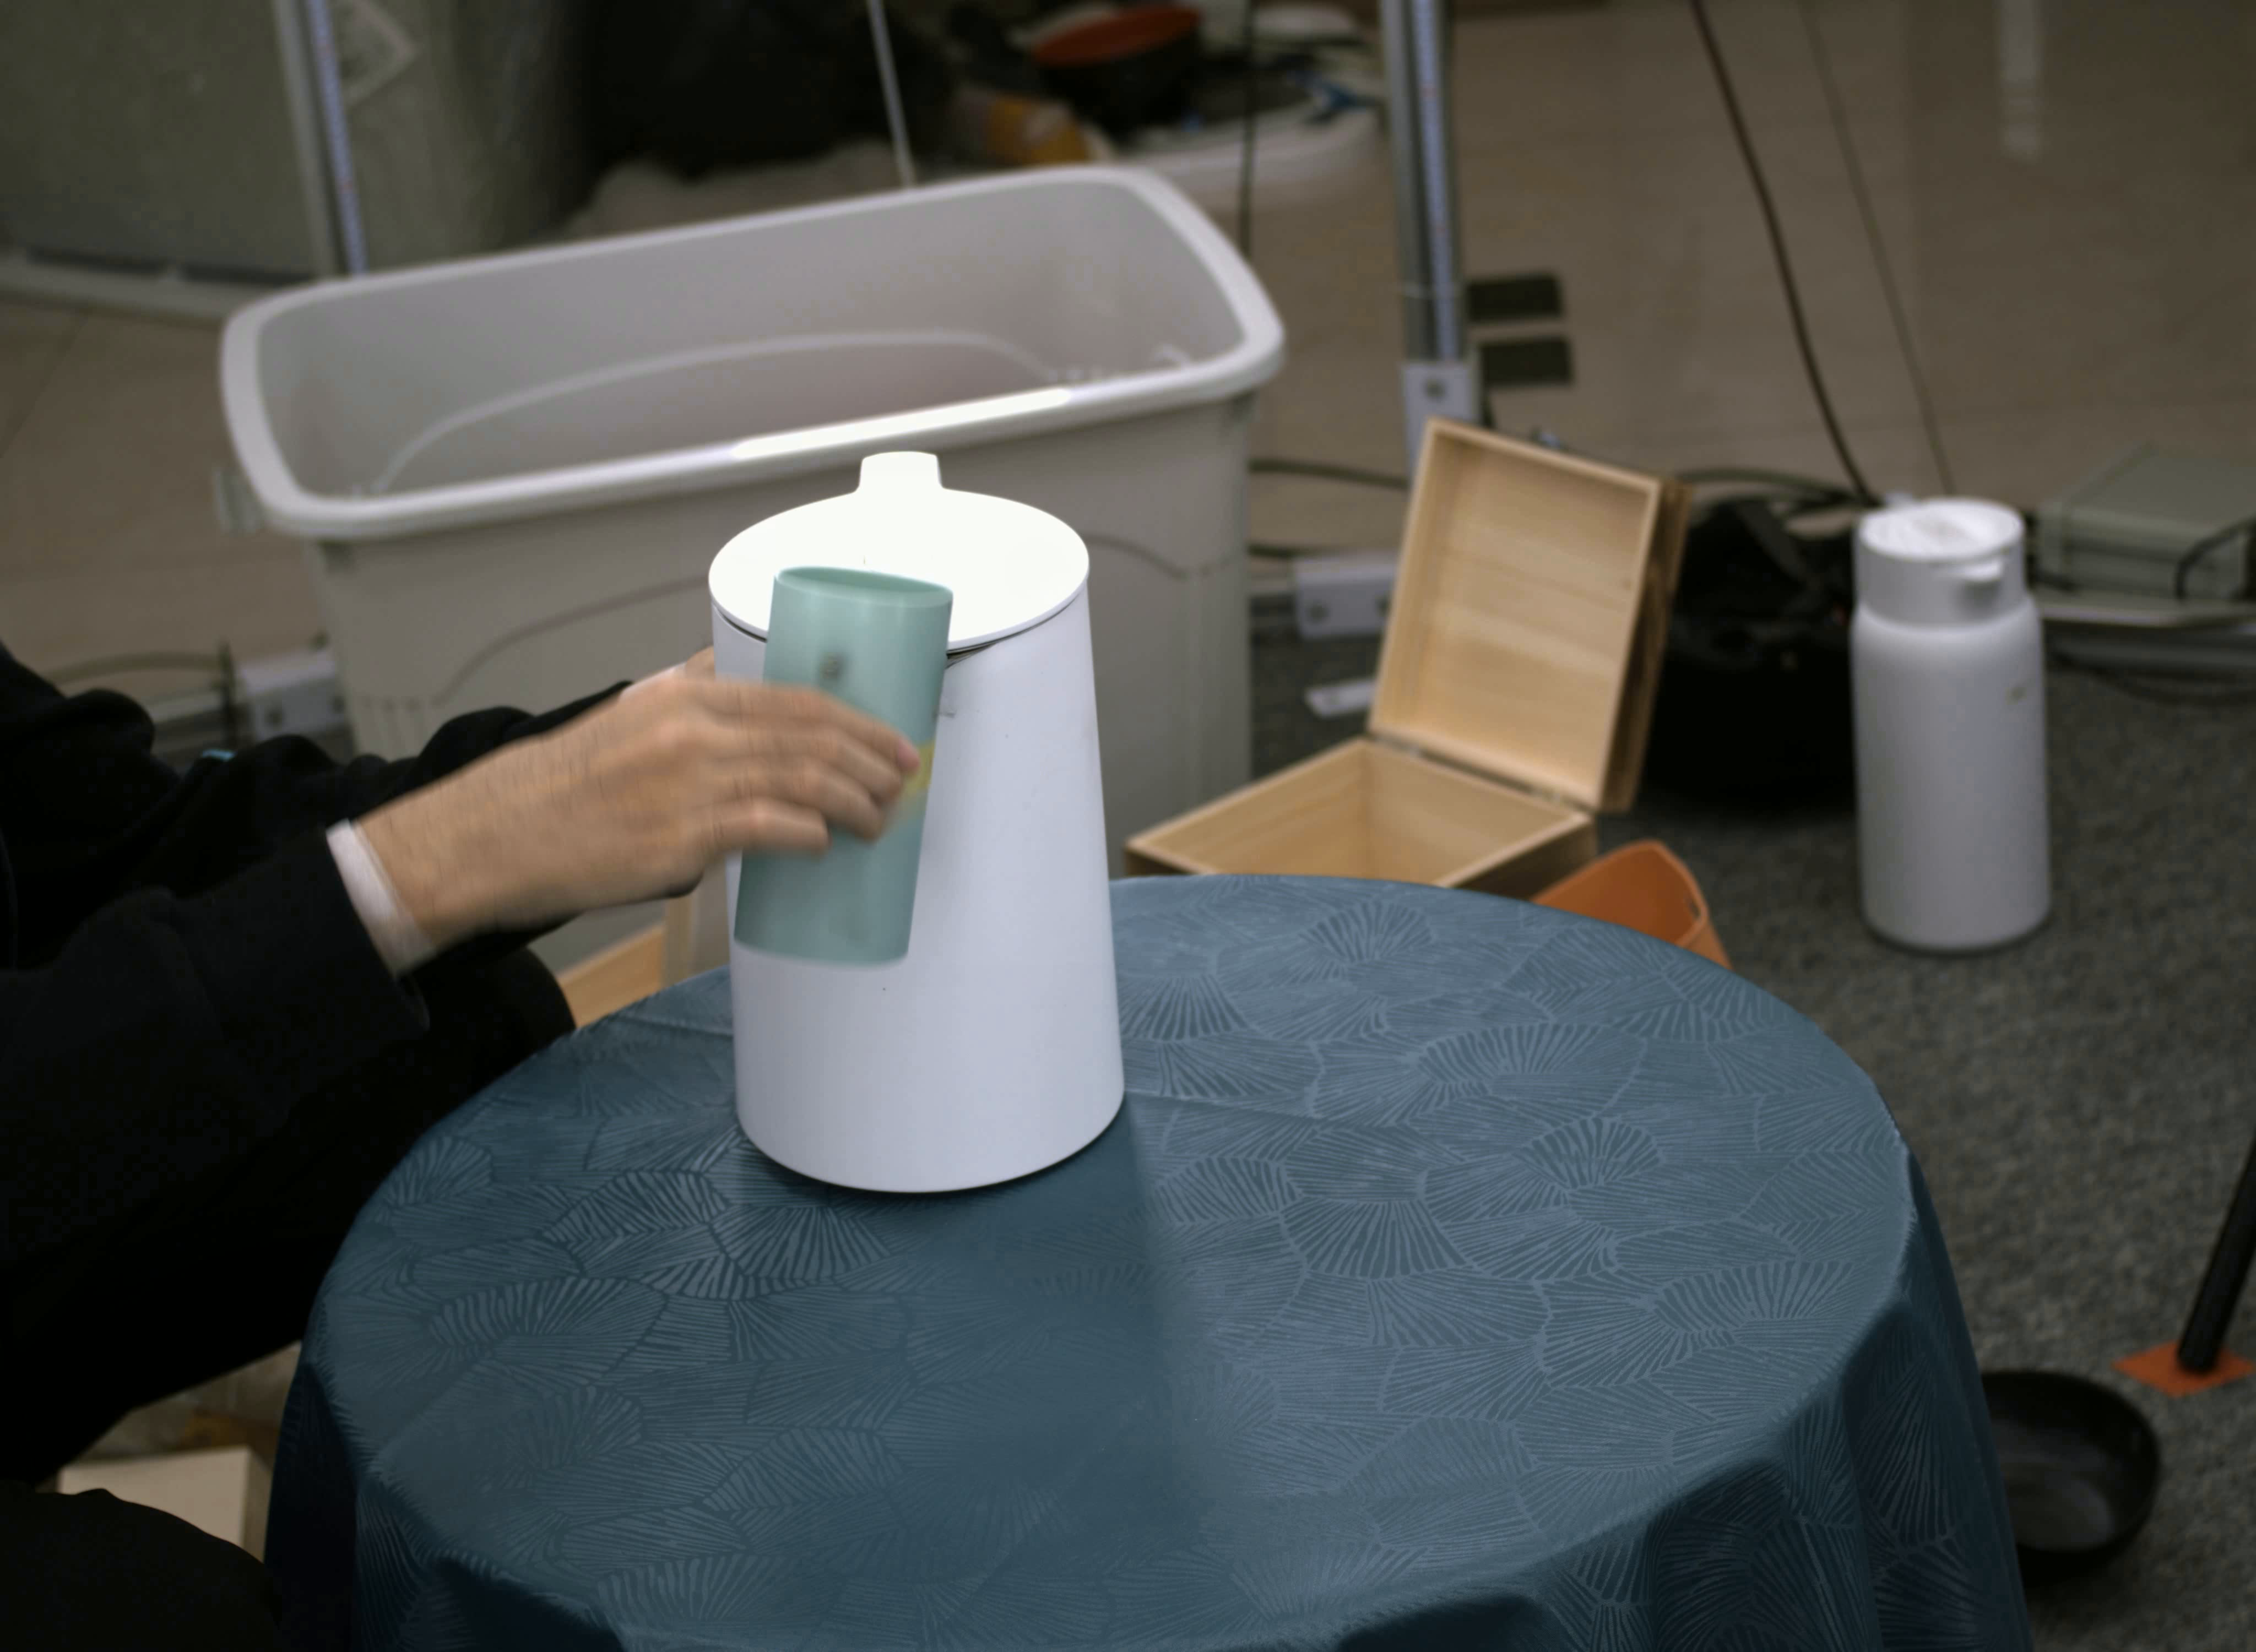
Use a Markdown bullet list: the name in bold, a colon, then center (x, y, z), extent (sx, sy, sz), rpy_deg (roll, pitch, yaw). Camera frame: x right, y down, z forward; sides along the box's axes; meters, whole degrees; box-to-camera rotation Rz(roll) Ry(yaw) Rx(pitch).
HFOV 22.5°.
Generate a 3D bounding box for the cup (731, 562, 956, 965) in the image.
- **cup**: center (-0.101, -0.023, 1.974), extent (0.066, 0.133, 0.066), rpy_deg (7, 11, -1)

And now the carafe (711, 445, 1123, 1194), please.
- **carafe**: center (-0.080, -0.009, 2.184), extent (0.152, 0.244, 0.210), rpy_deg (-1, 29, 0)
